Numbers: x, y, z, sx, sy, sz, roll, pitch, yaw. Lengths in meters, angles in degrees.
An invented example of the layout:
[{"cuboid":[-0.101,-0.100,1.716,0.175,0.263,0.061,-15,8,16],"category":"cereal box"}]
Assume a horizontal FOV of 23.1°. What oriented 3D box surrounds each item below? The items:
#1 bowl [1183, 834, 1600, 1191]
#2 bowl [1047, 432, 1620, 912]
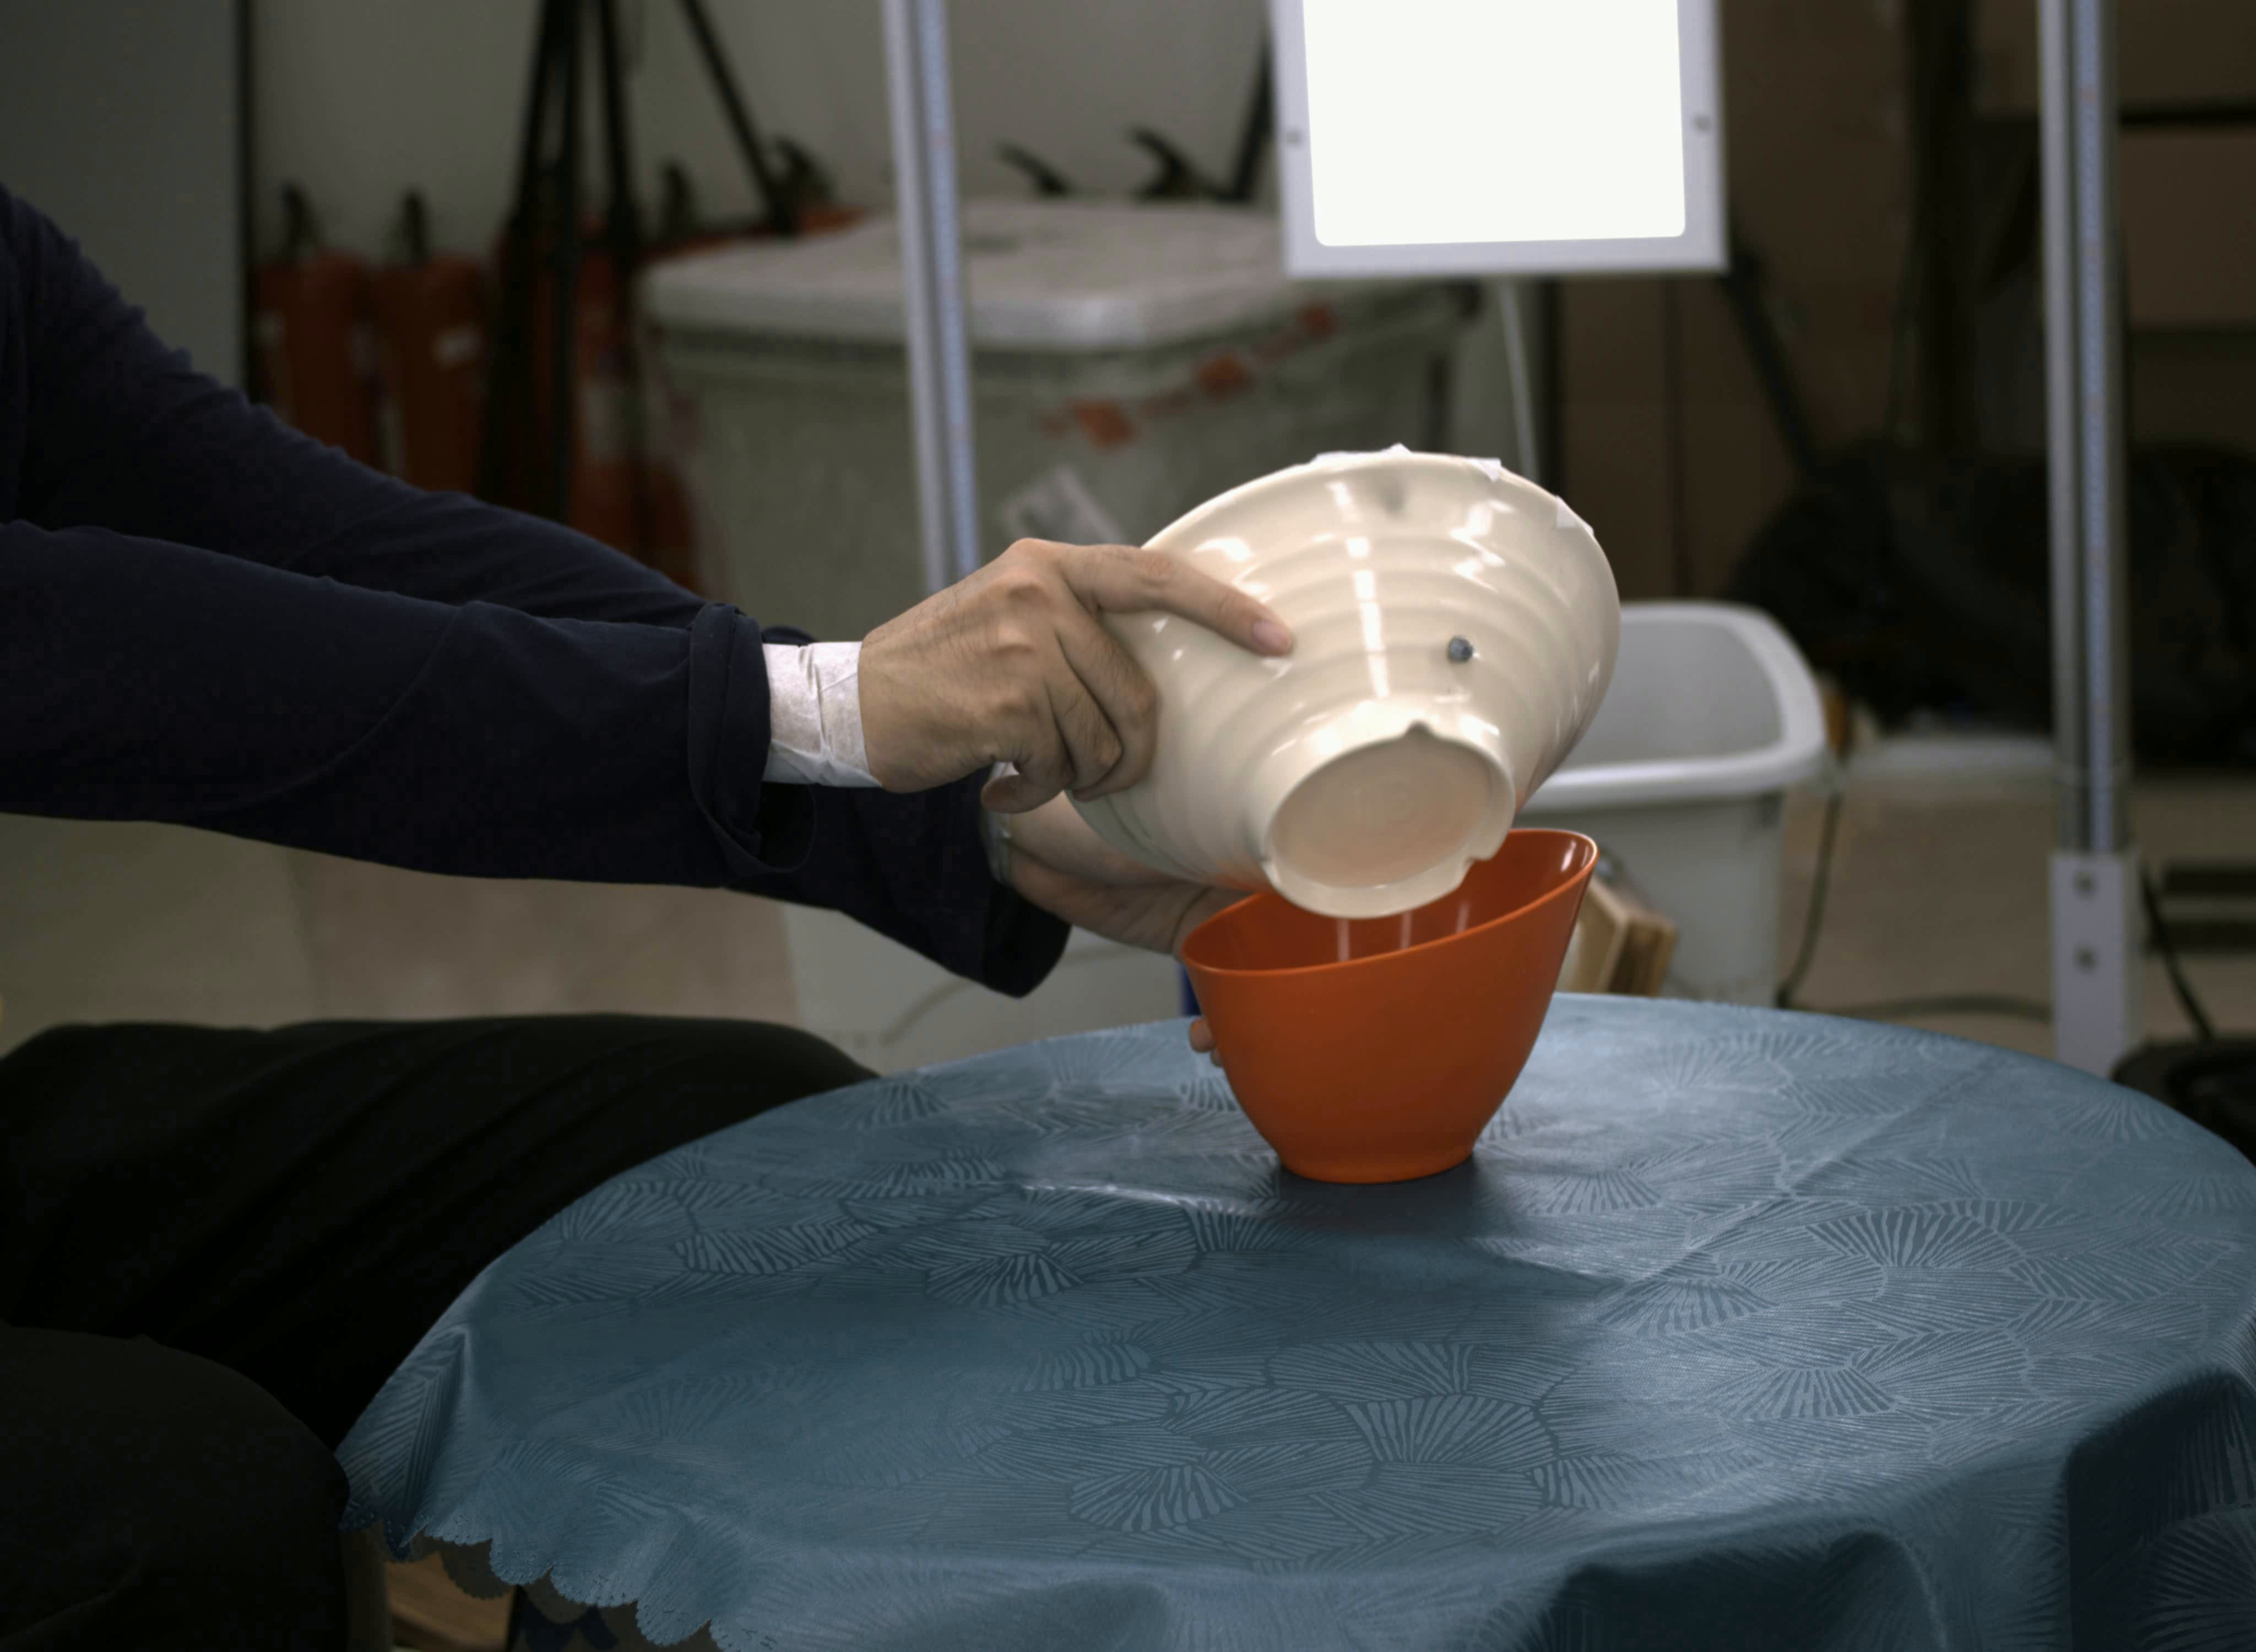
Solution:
[{"cuboid":[0.095,0.067,1.904,0.148,0.105,0.148,-7,13,0],"category":"bowl"},{"cuboid":[0.080,-0.029,1.851,0.202,0.205,0.078,-7,43,-11],"category":"bowl"}]
